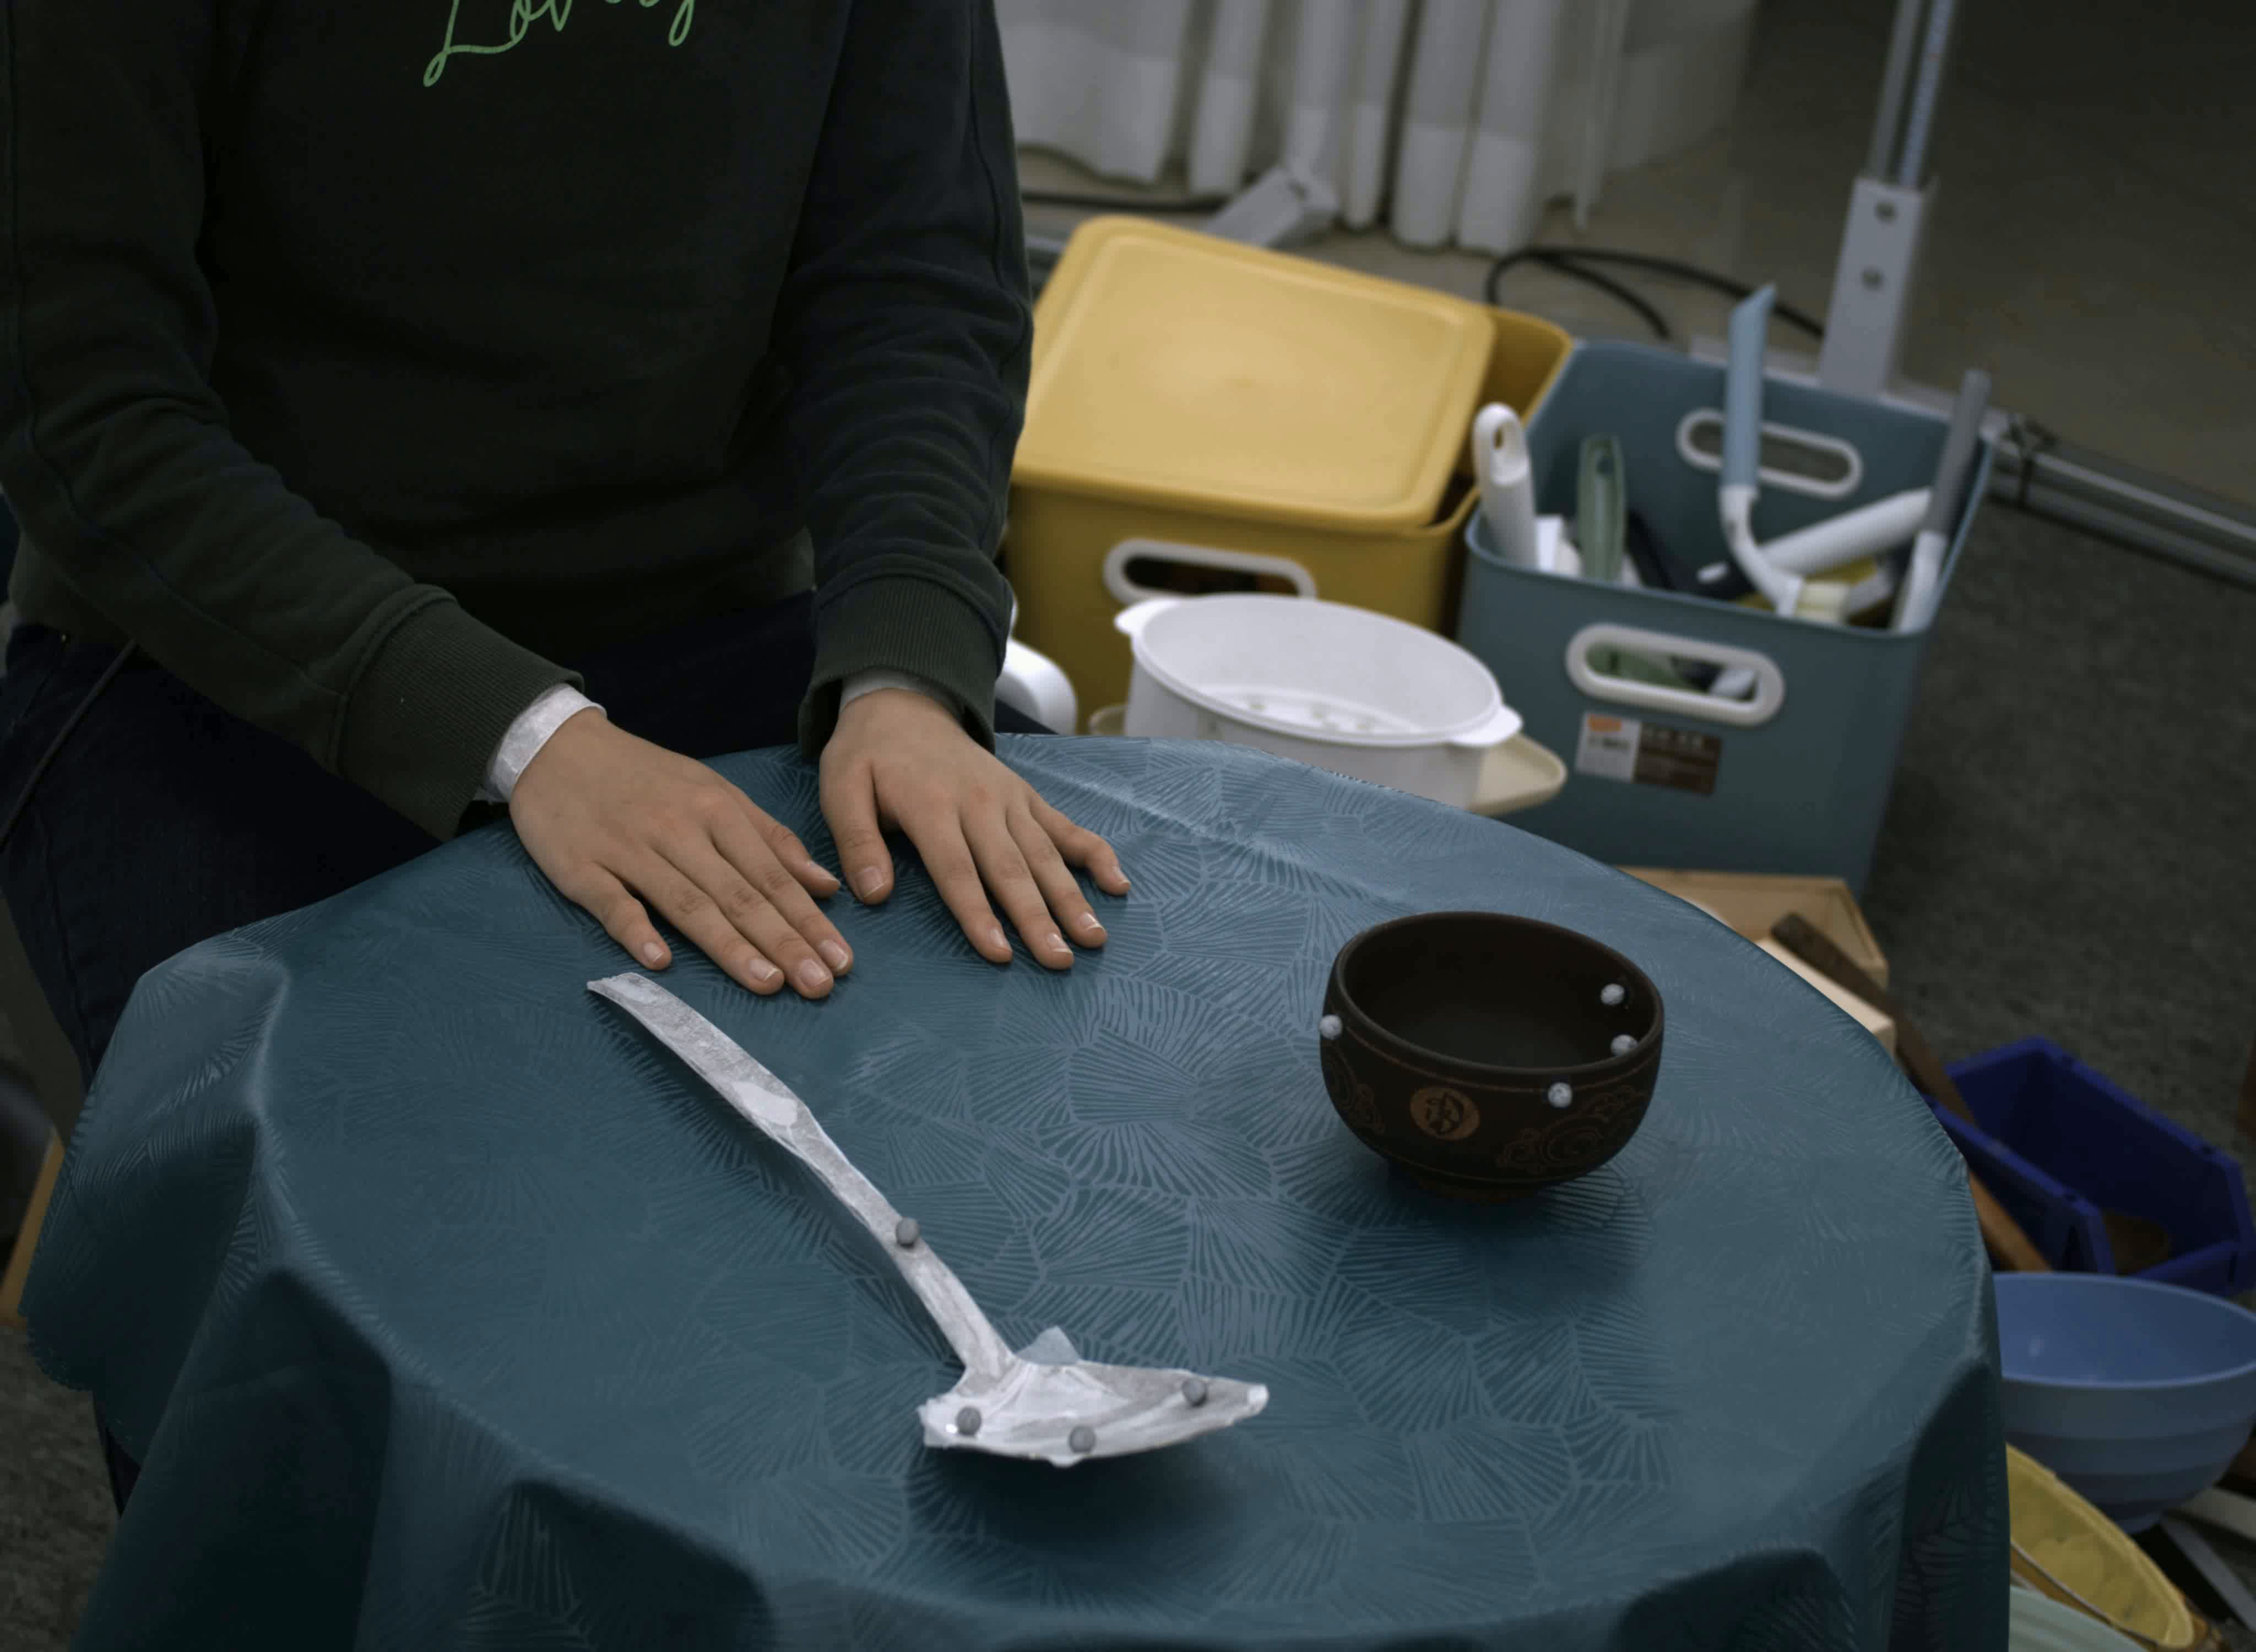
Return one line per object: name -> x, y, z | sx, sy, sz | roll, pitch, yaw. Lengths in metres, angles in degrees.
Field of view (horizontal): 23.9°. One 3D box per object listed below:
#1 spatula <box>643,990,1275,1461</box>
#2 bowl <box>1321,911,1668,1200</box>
spatula -> -0.080, 0.122, 1.742 | 0.098, 0.044, 0.368 | -11, 32, -28
bowl -> 0.123, 0.085, 1.826 | 0.117, 0.069, 0.118 | 6, 24, -3
